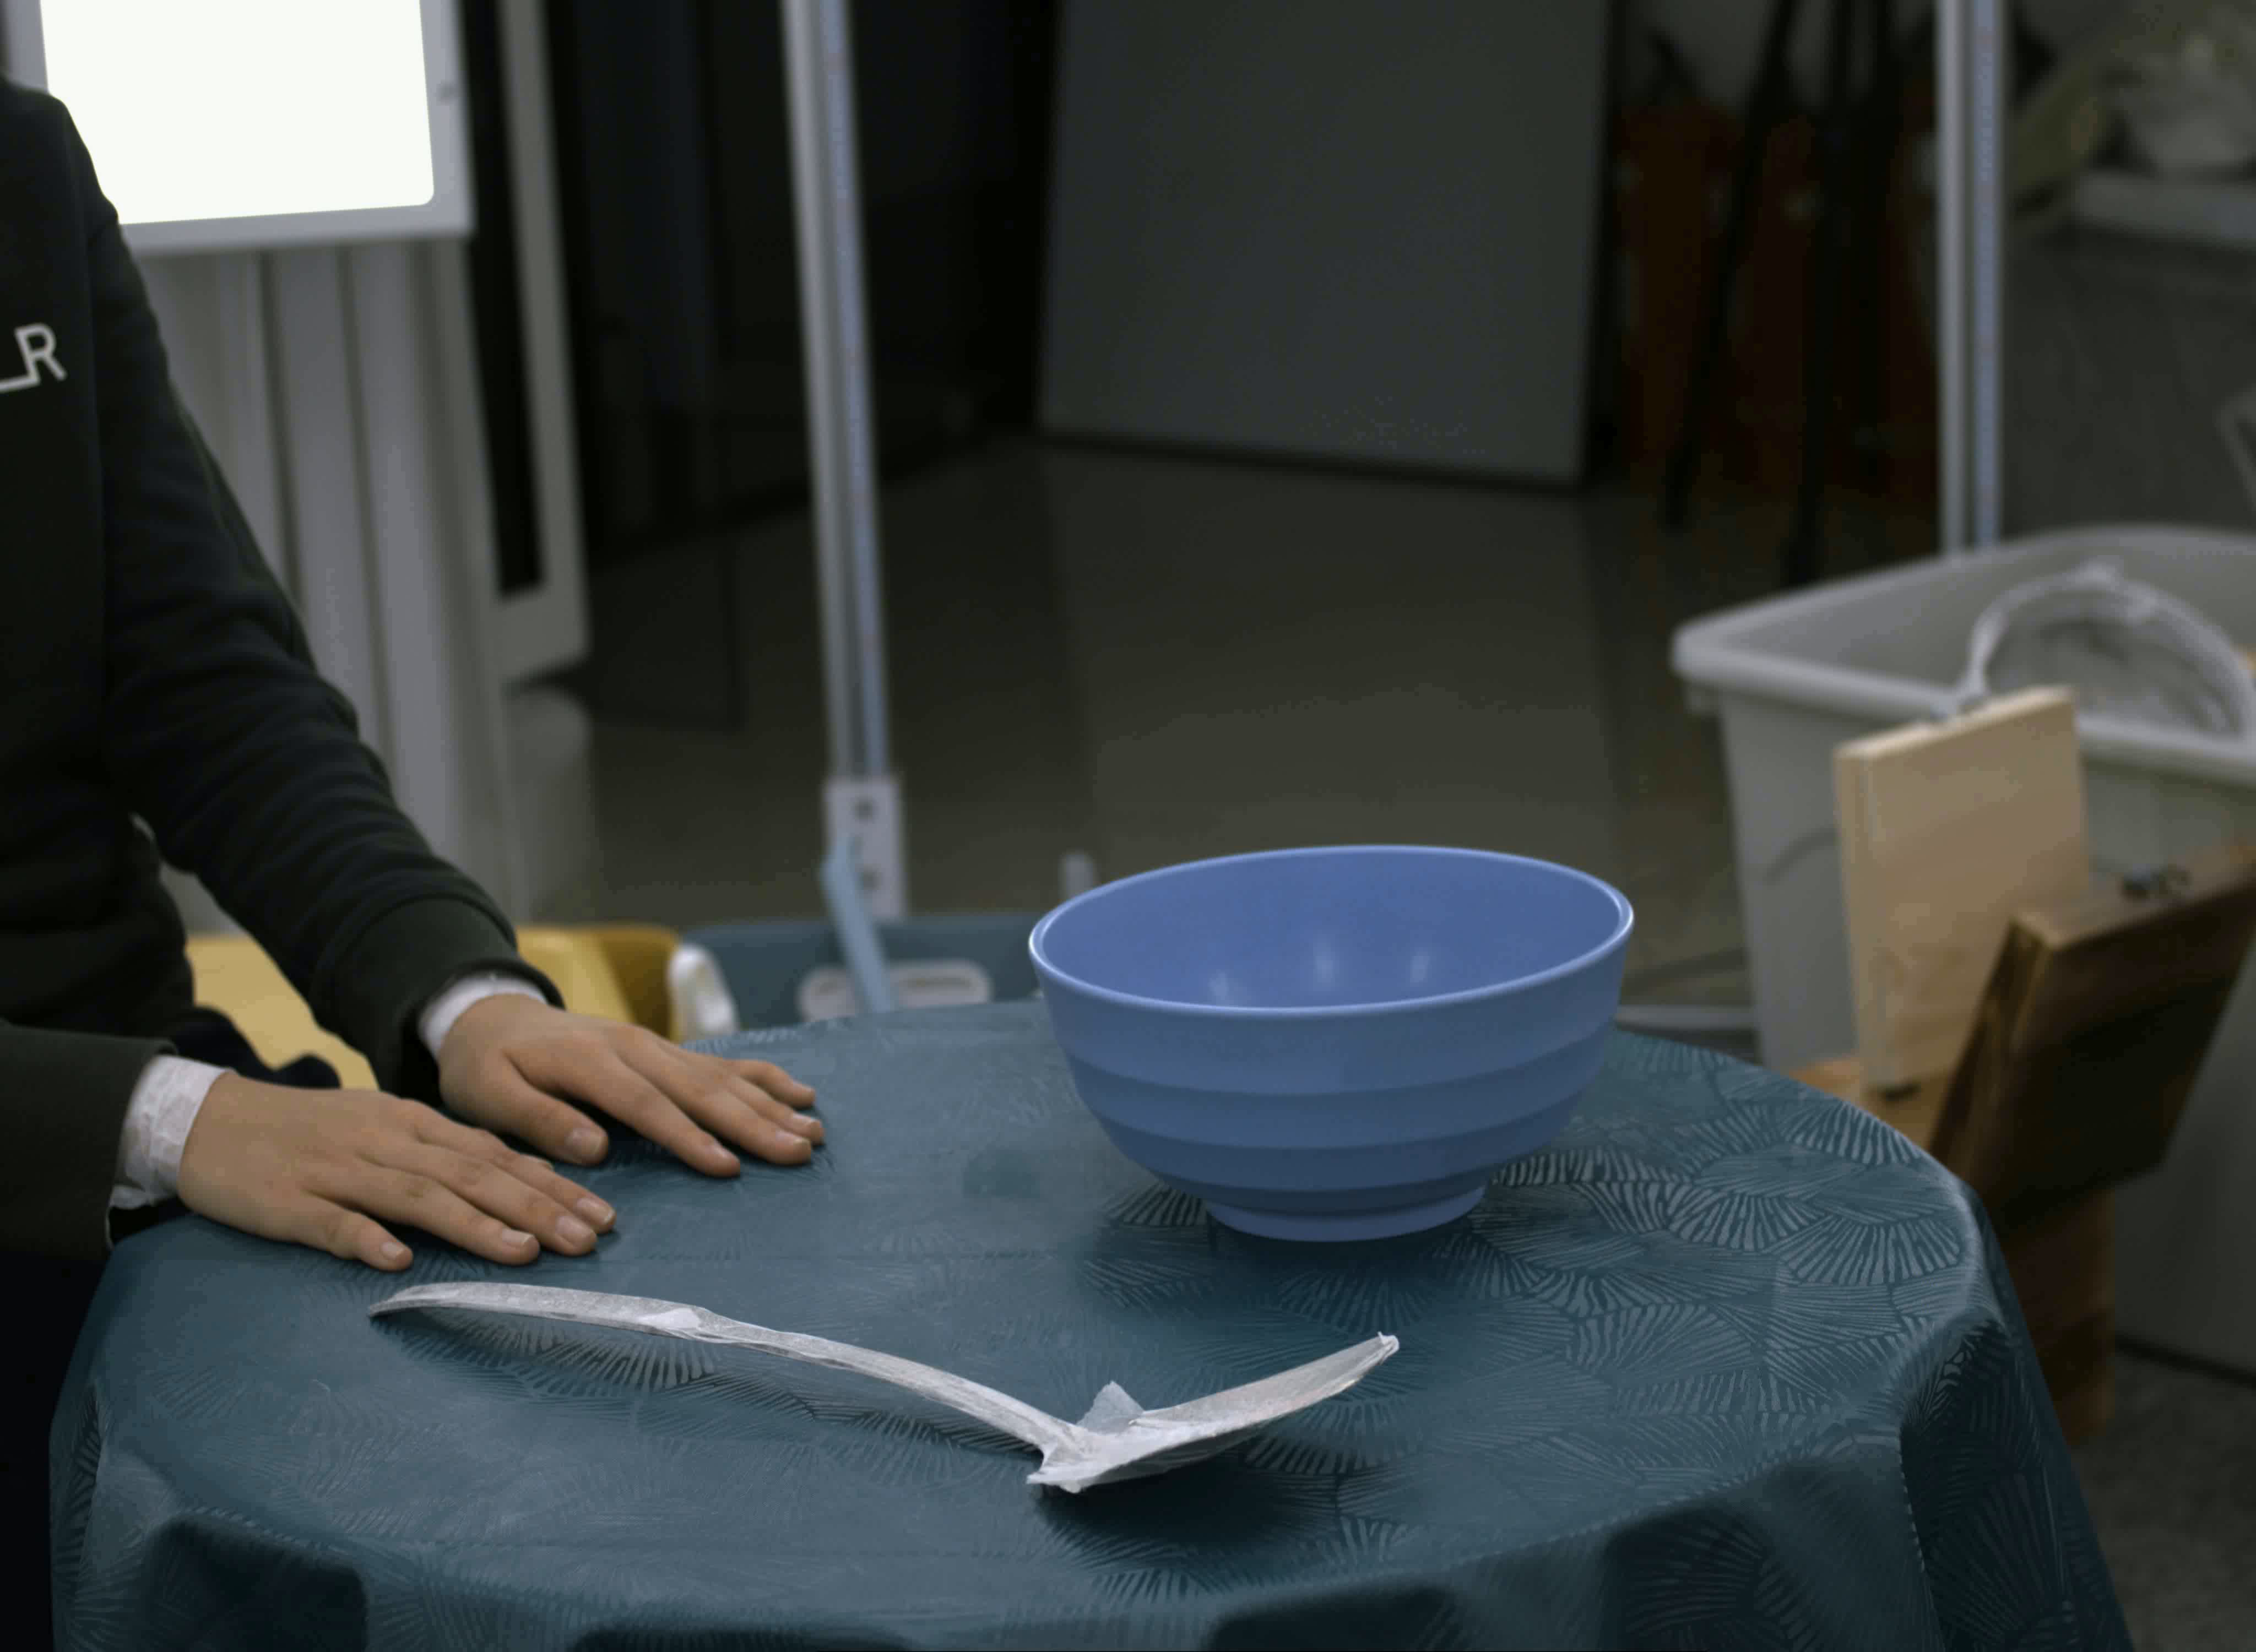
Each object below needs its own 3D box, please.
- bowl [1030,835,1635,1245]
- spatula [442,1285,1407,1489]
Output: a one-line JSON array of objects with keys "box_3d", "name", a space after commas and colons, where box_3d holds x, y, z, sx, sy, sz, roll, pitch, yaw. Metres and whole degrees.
[{"box_3d": [0.068, 0.075, 1.738, 0.194, 0.096, 0.197, -4, 15, 0], "name": "bowl"}, {"box_3d": [-0.080, 0.153, 1.587, 0.367, 0.045, 0.097, 7, 20, 38], "name": "spatula"}]
